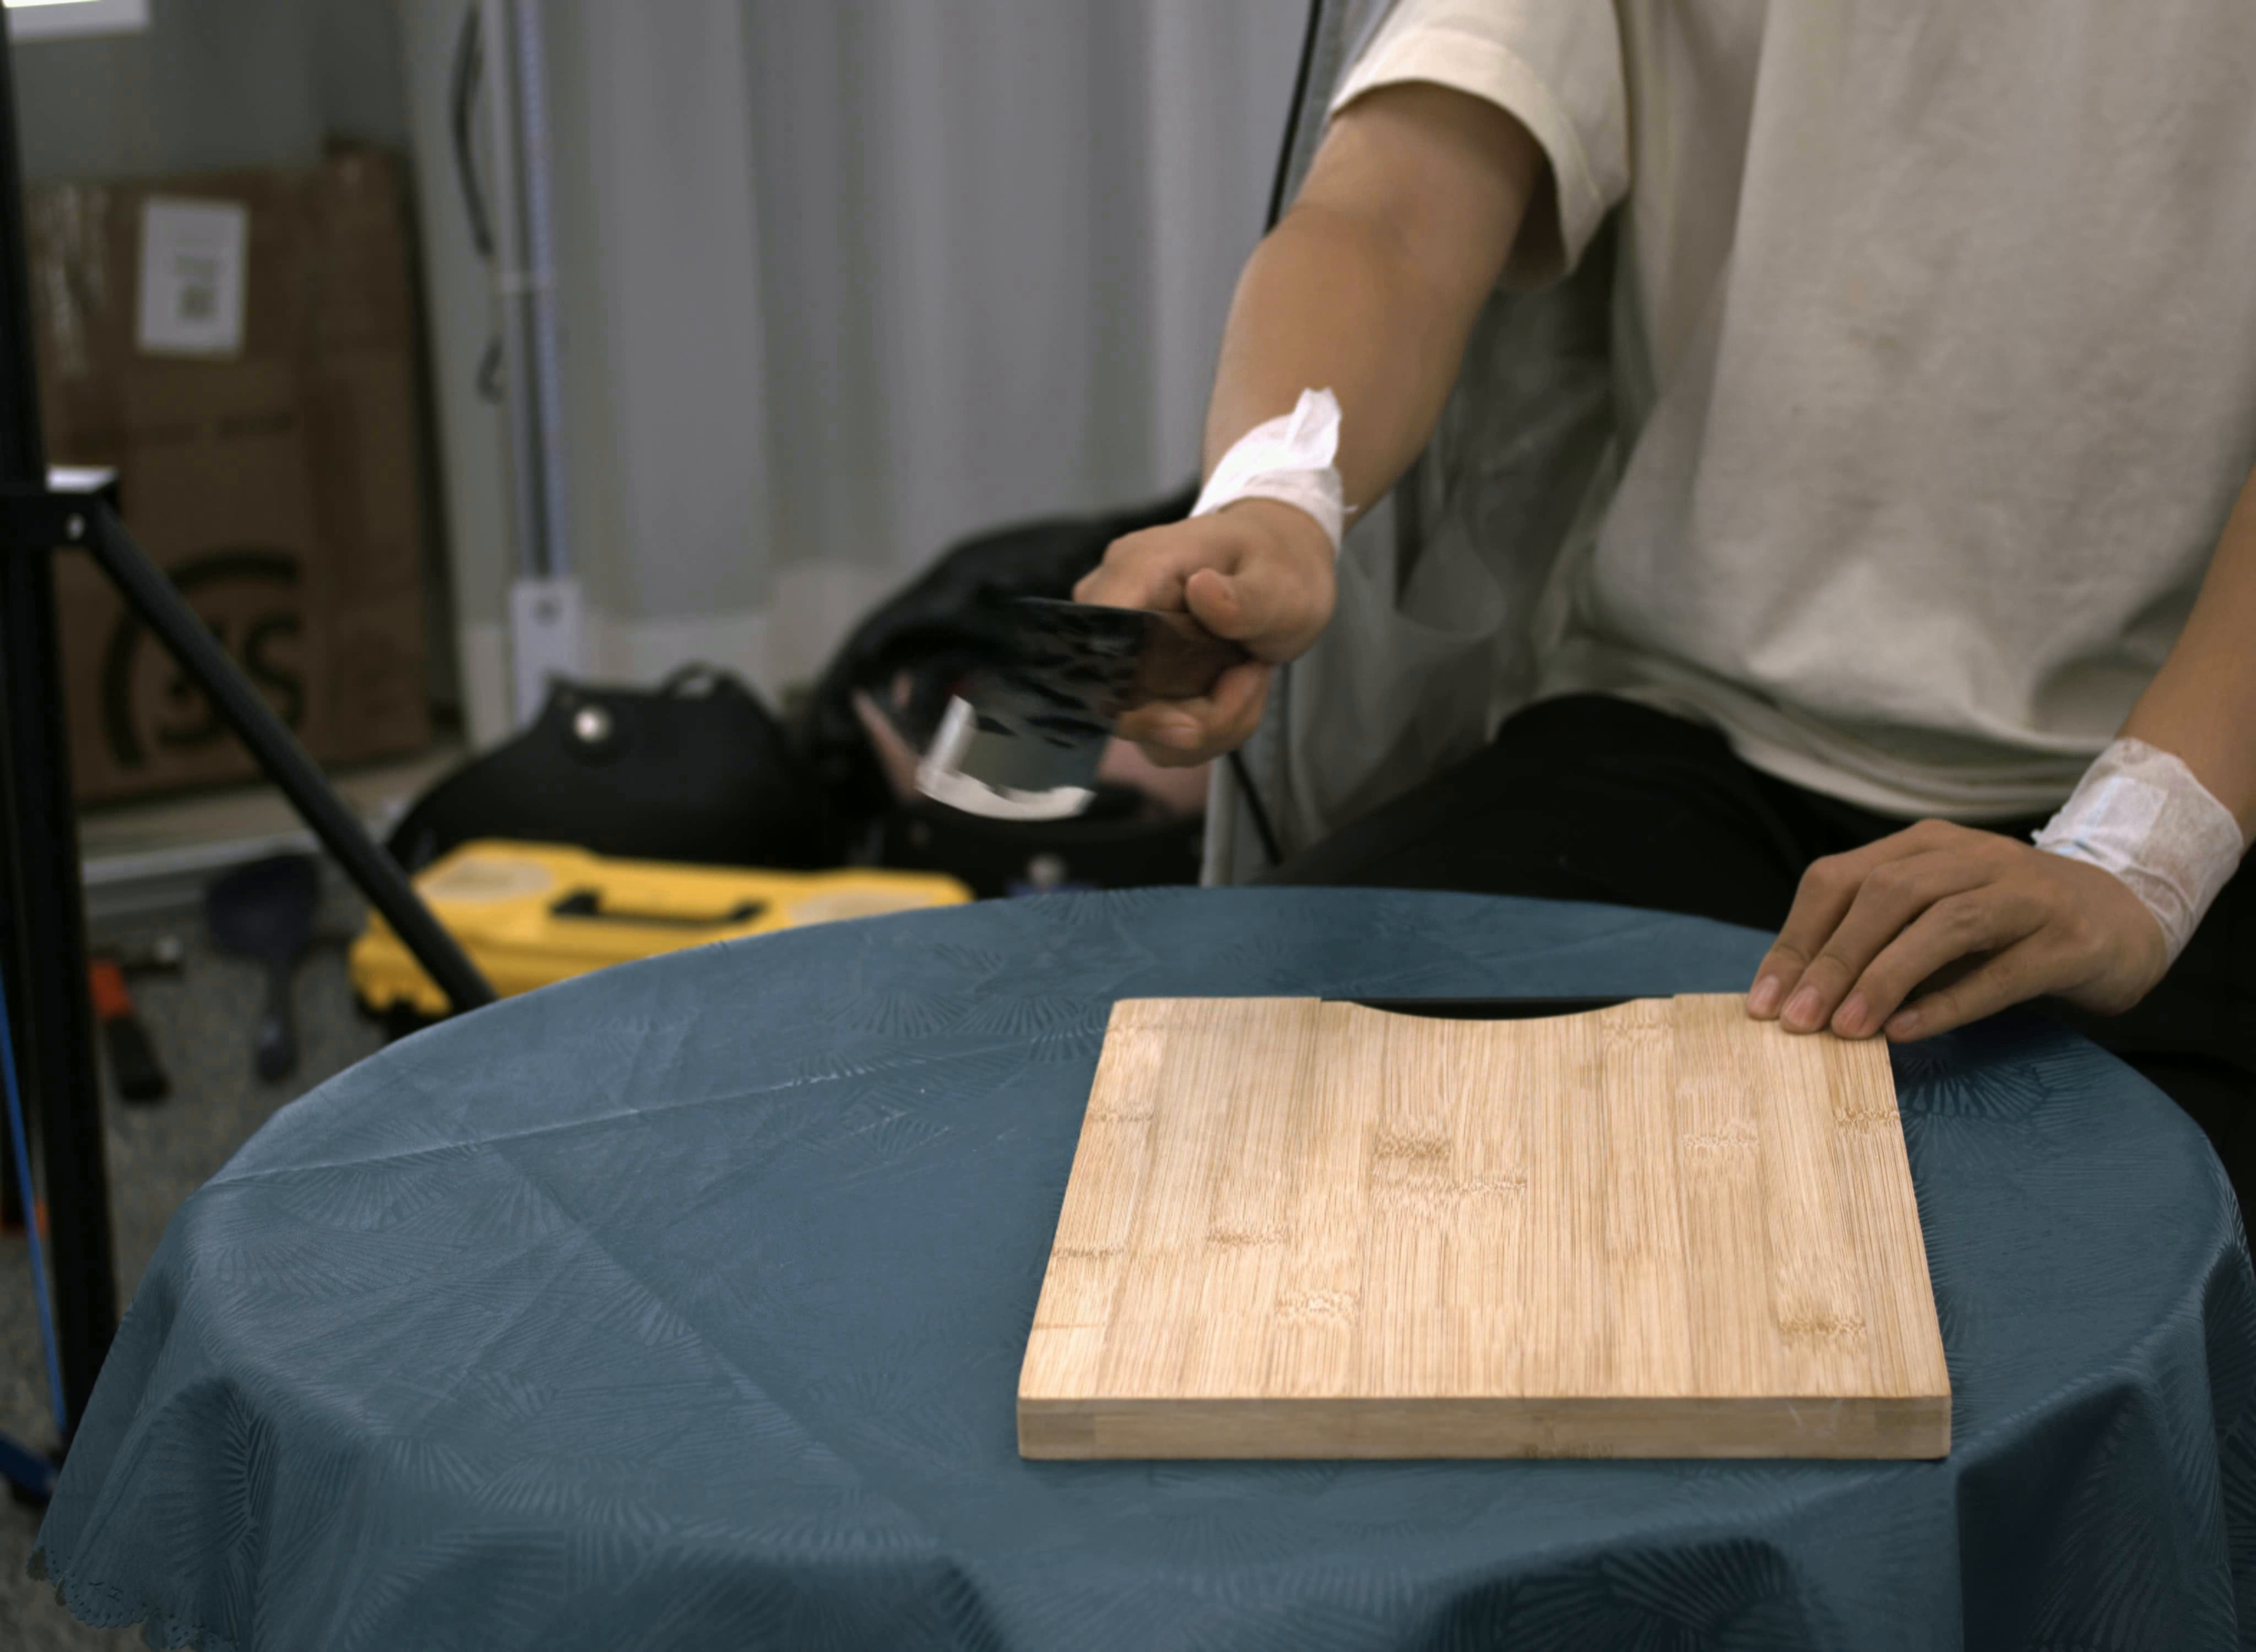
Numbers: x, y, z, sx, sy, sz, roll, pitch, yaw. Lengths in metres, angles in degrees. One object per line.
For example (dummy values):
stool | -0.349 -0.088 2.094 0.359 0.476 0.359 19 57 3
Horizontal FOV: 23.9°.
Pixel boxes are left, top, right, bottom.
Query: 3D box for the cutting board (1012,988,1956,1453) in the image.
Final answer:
cutting board | 0.104 0.107 1.511 0.250 0.023 0.349 -1 15 4

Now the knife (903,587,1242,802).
knife | -0.016 -0.039 1.613 0.024 0.068 0.295 23 7 13
